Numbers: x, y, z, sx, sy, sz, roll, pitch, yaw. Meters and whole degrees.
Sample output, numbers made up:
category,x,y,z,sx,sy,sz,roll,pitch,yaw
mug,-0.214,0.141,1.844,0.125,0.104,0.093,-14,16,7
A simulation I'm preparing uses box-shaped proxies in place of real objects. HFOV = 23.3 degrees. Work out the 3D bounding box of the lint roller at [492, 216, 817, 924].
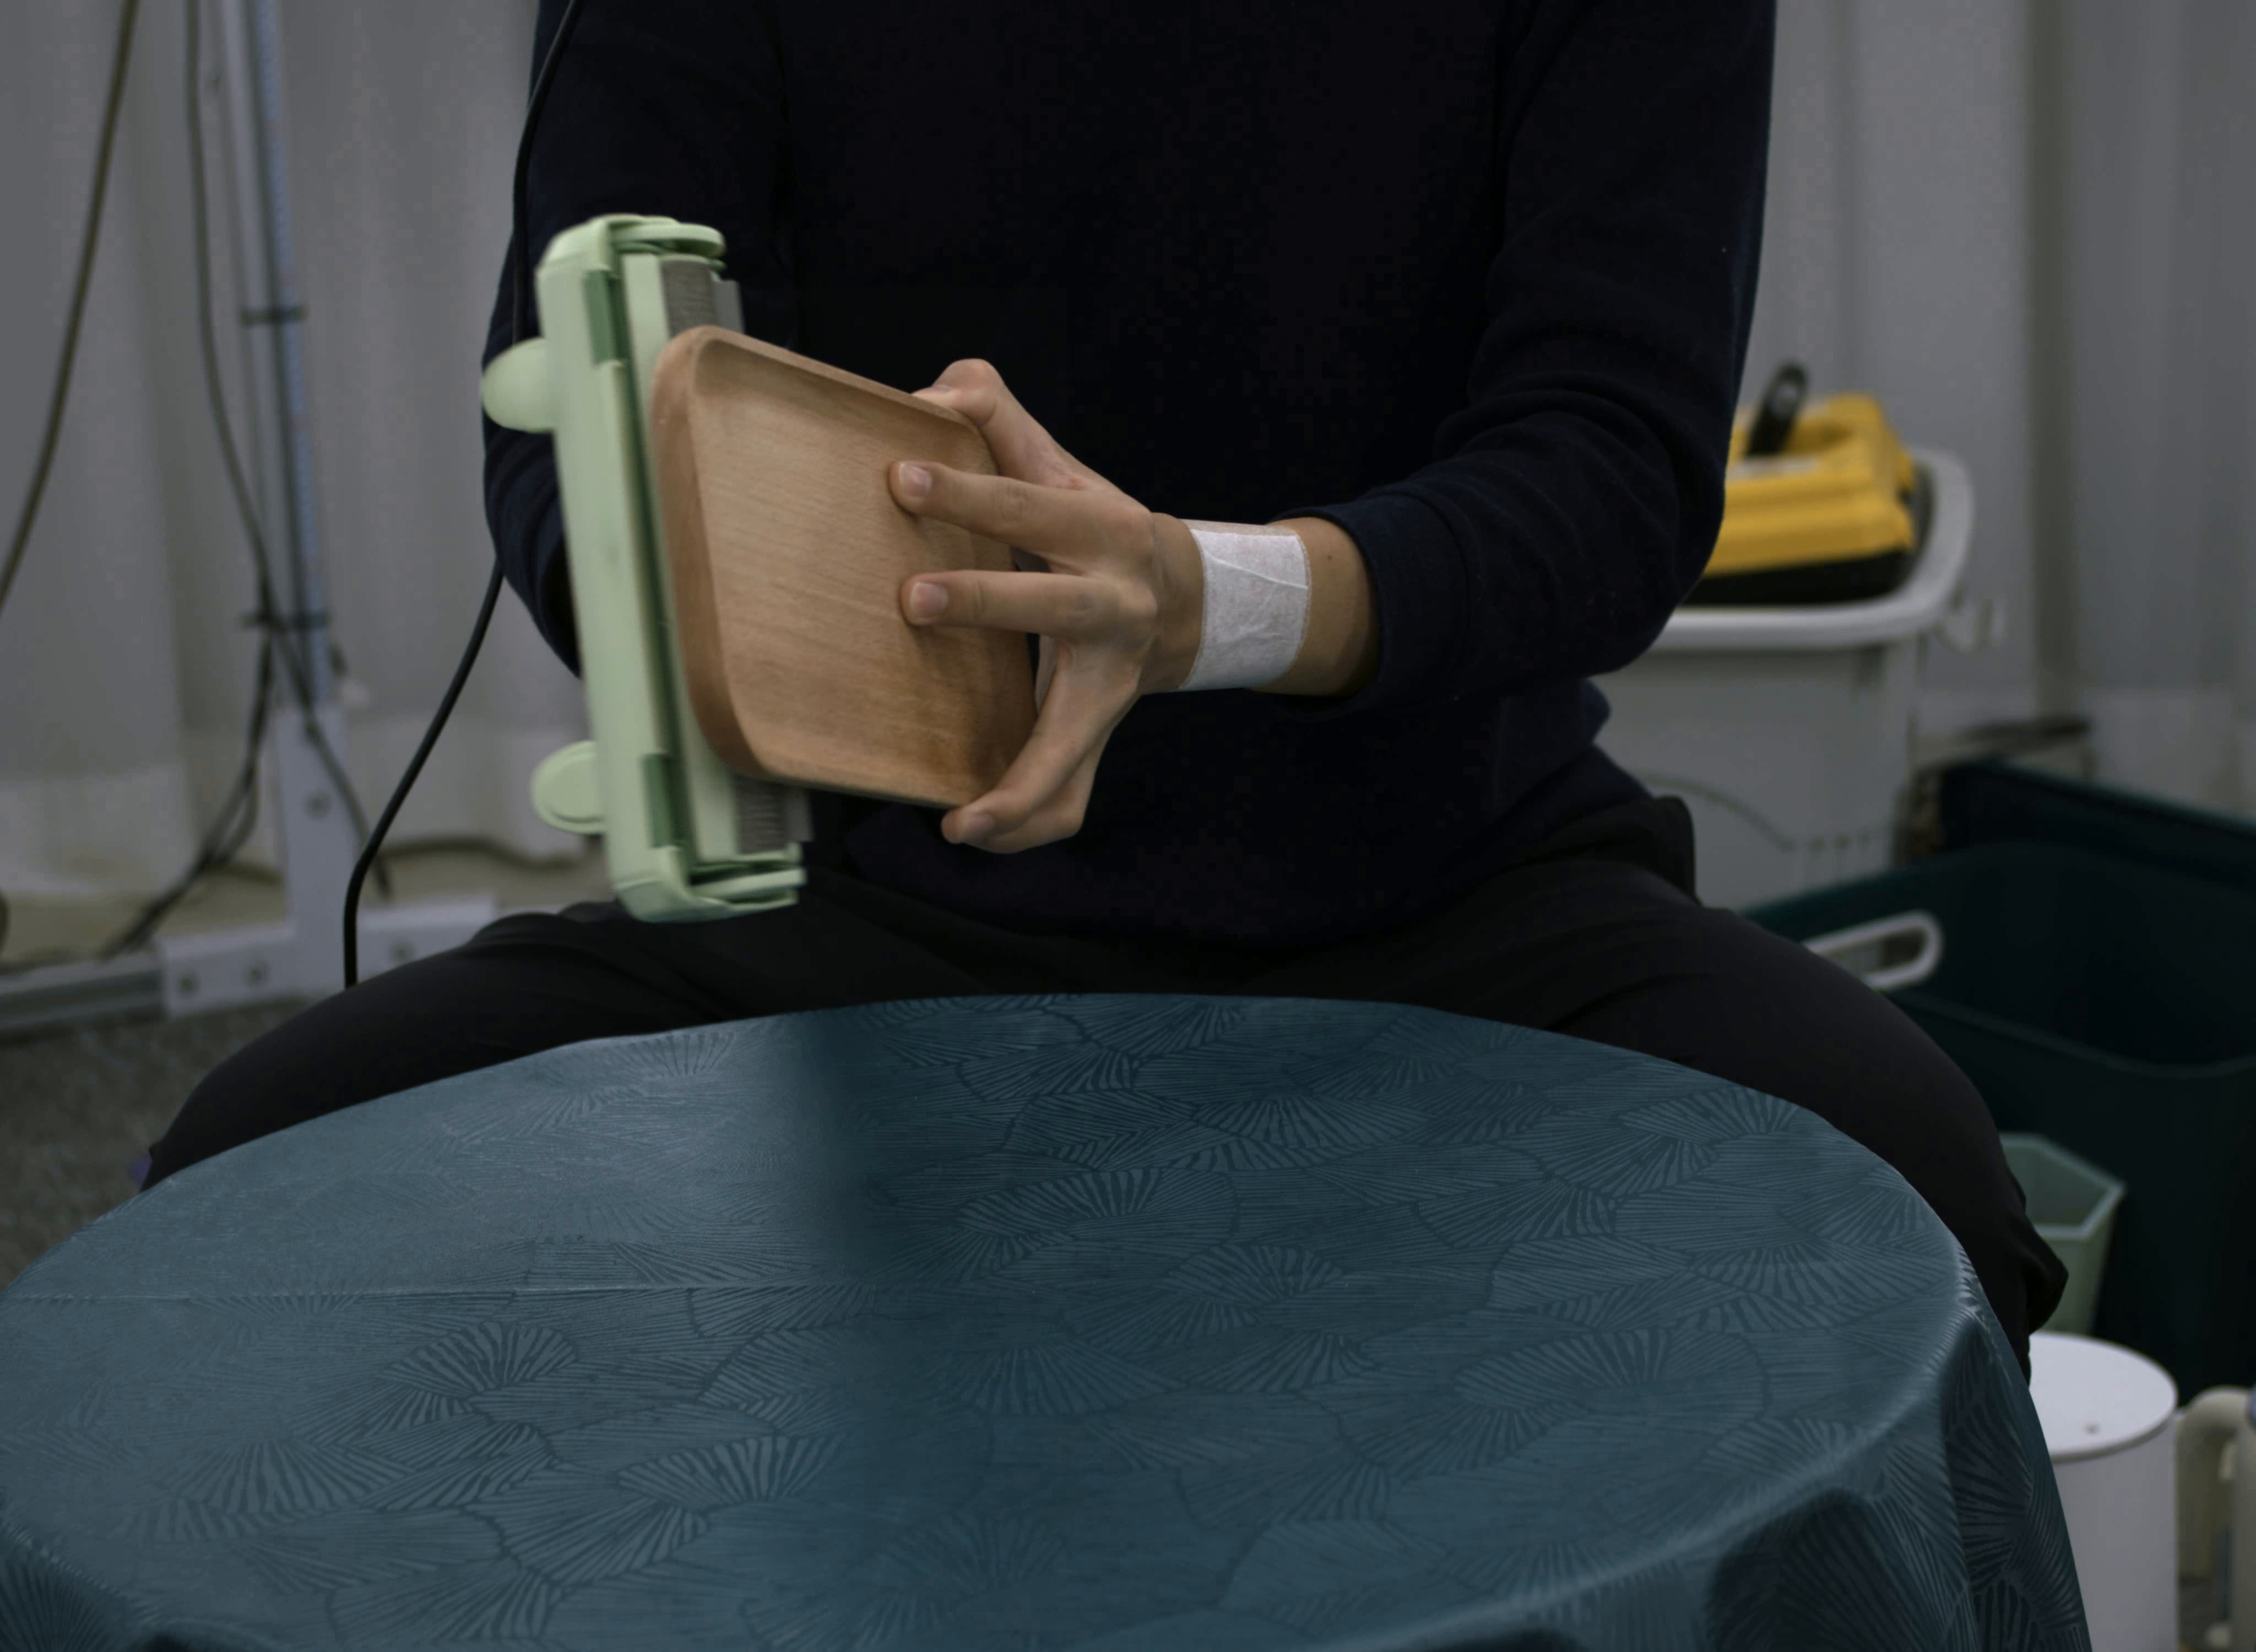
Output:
category,x,y,z,sx,sy,sz,roll,pitch,yaw
lint roller,-0.136,-0.065,1.602,0.082,0.200,0.183,-7,-7,-5

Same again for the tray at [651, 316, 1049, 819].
category,x,y,z,sx,sy,sz,roll,pitch,yaw
tray,-0.077,-0.070,1.586,0.023,0.131,0.249,-9,-7,18
